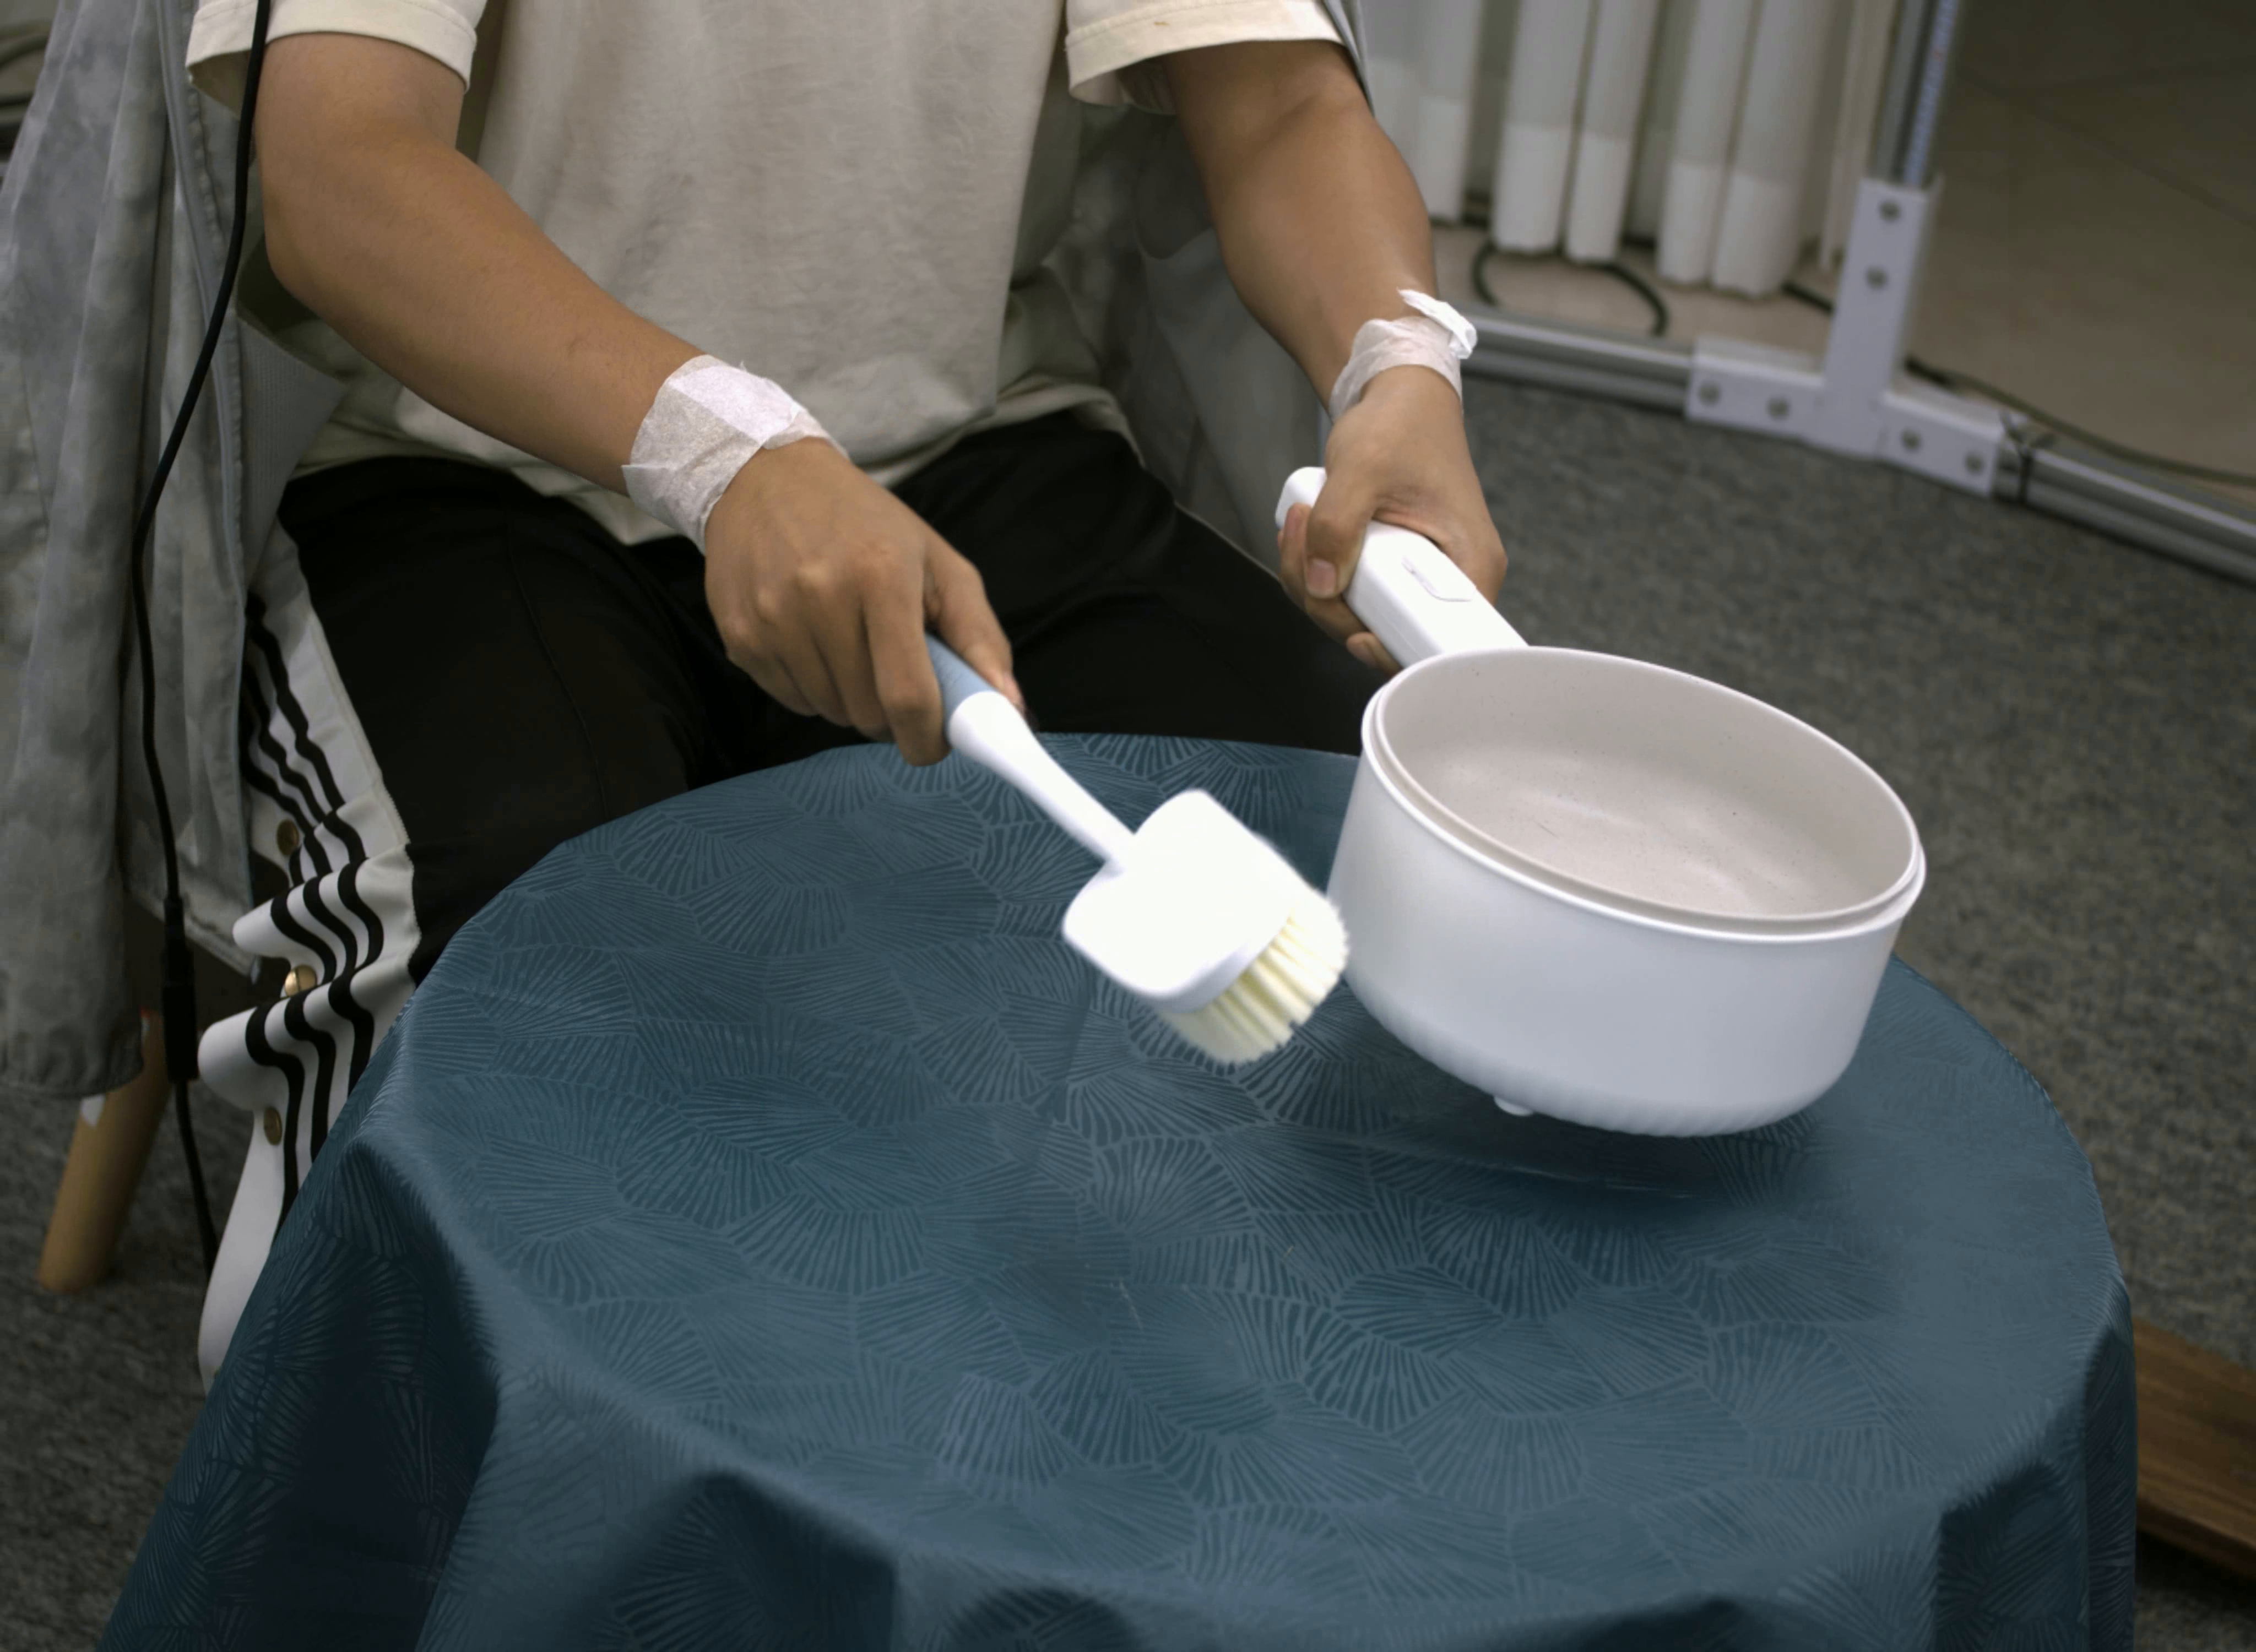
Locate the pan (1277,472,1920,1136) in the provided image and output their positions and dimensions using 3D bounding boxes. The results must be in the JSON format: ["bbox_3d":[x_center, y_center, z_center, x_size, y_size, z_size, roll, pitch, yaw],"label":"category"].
[{"bbox_3d":[0.137,-0.010,1.922,0.200,0.102,0.358,0,28,-27],"label":"pan"}]

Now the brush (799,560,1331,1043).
[{"bbox_3d":[-0.016,-0.010,1.822,0.082,0.084,0.328,-16,29,-22],"label":"brush"}]
